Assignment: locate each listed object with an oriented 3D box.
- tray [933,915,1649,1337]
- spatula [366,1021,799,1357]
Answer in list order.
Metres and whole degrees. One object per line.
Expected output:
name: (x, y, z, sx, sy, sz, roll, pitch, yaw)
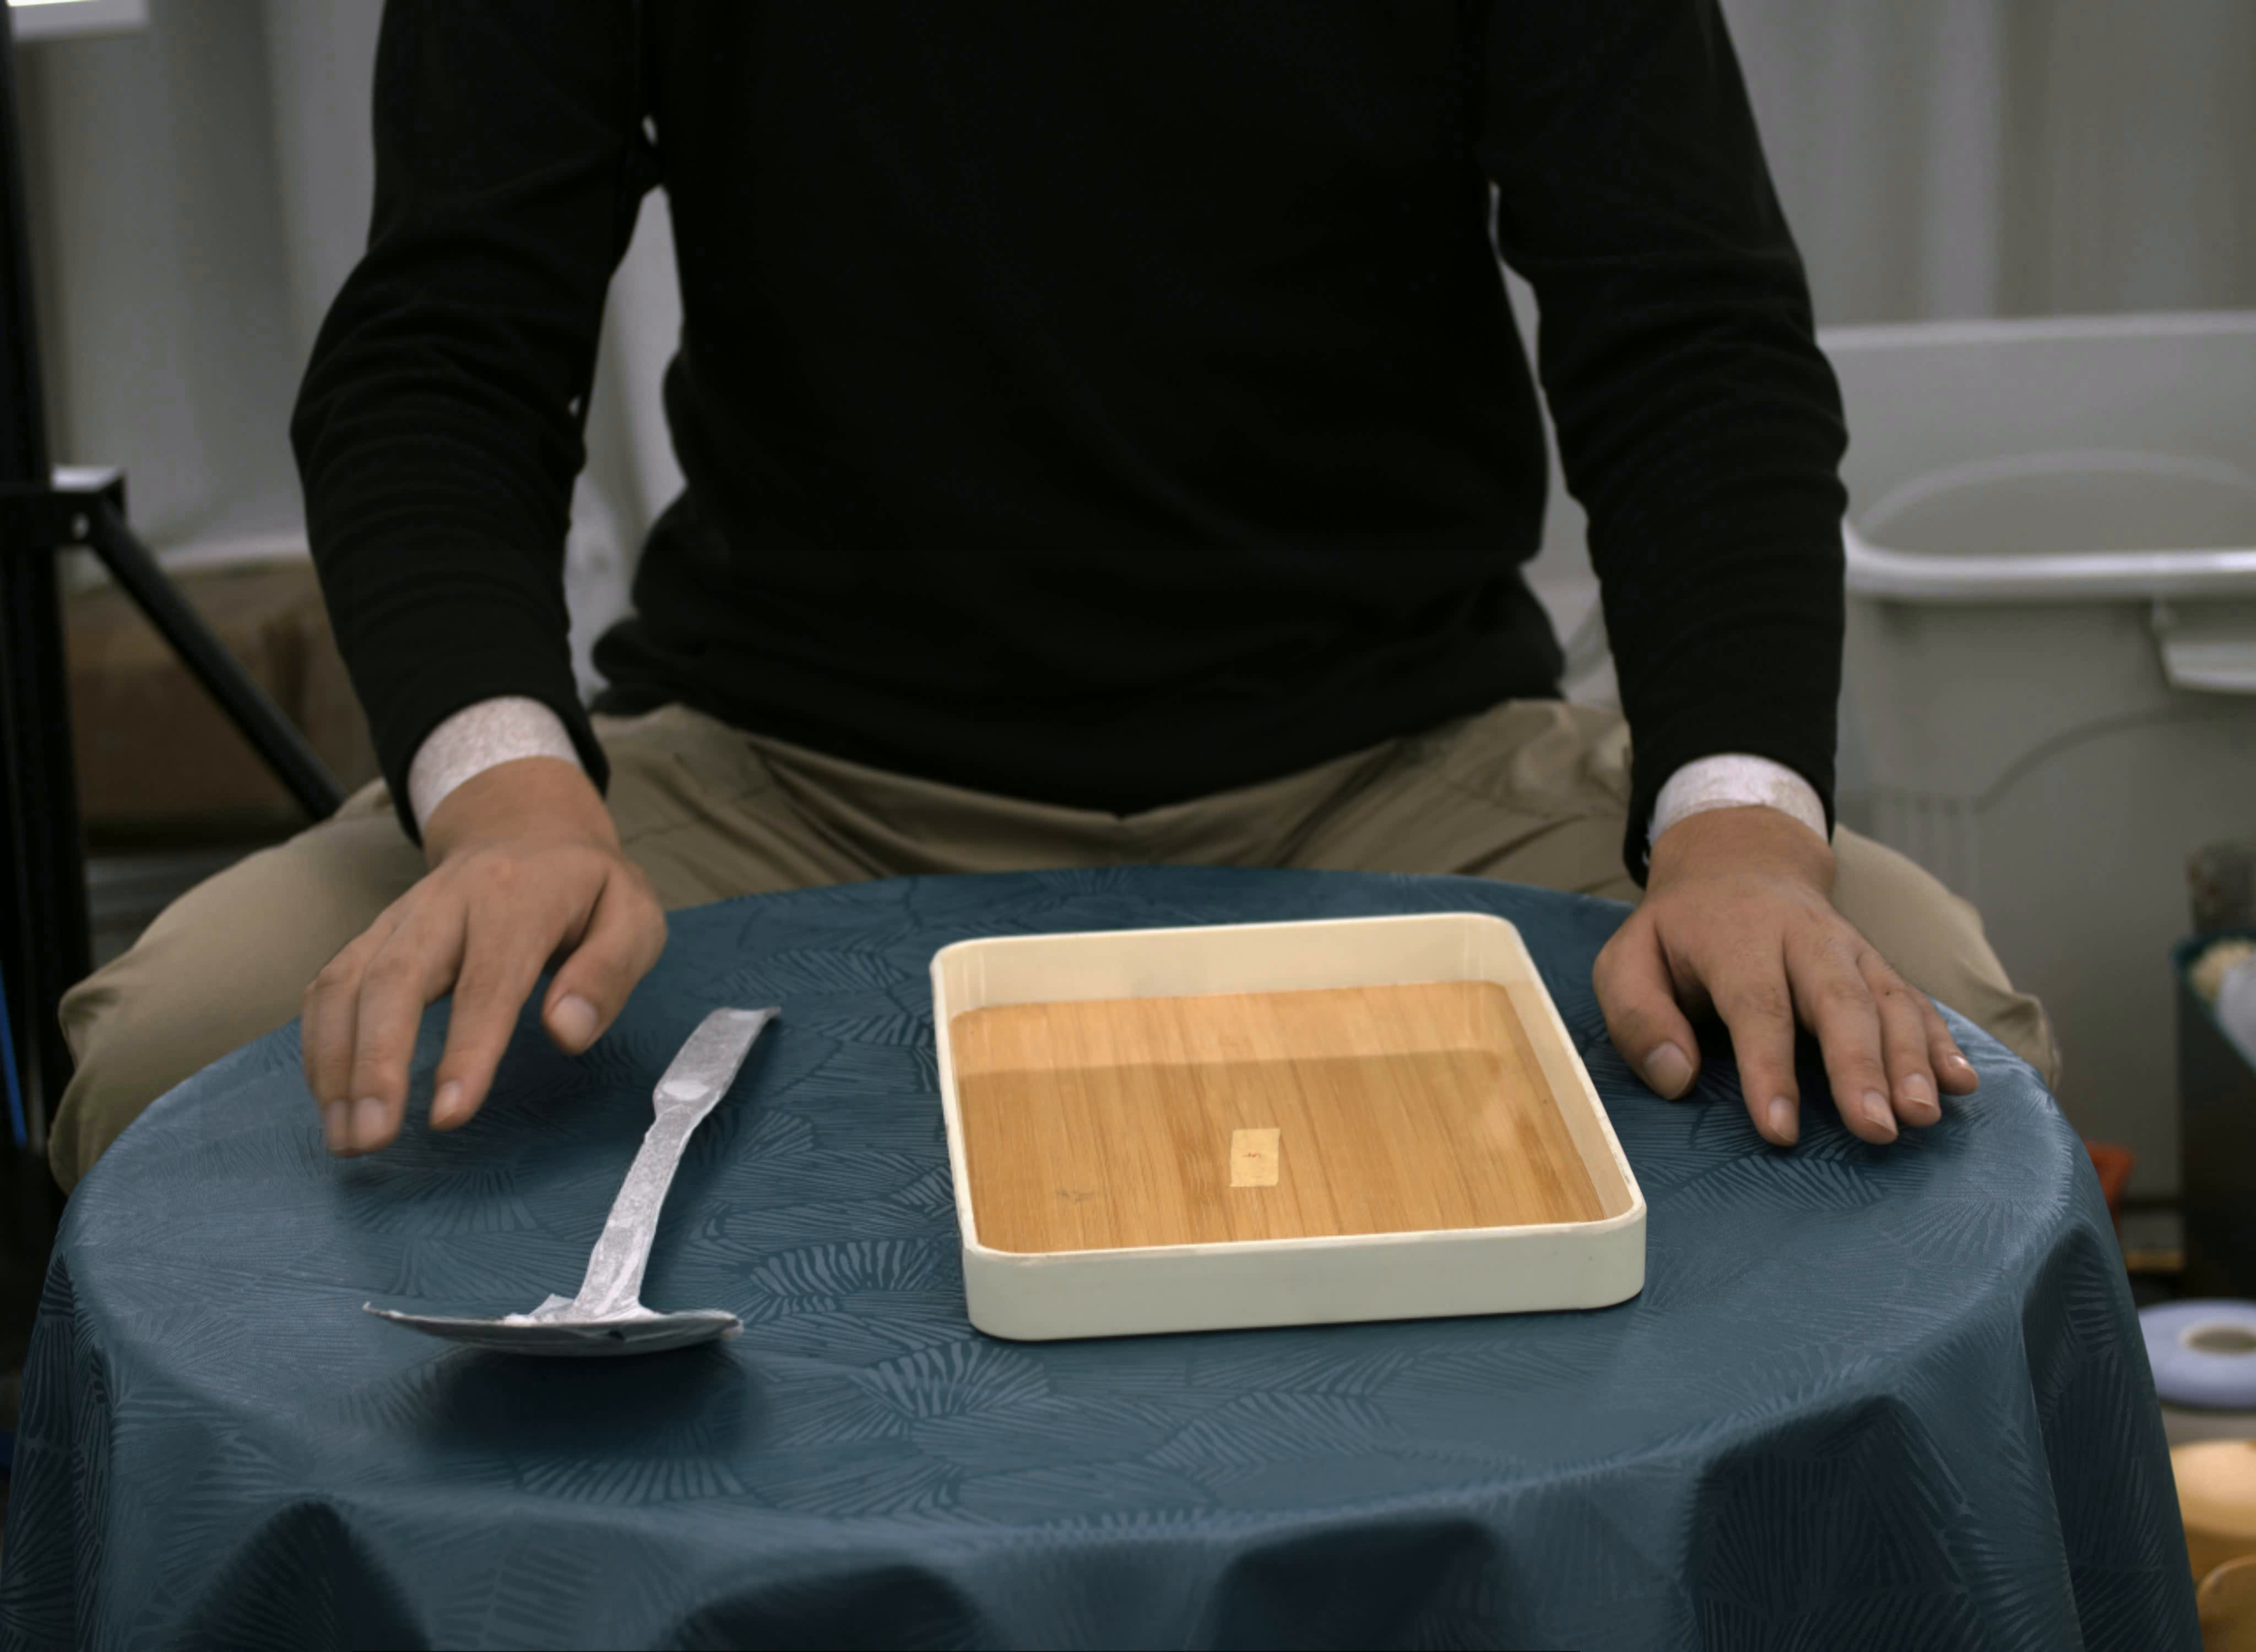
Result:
tray: (0.041, 0.085, 1.582, 0.190, 0.027, 0.302, -3, 16, -2)
spatula: (-0.136, 0.096, 1.550, 0.099, 0.045, 0.364, -1, 16, 6)
